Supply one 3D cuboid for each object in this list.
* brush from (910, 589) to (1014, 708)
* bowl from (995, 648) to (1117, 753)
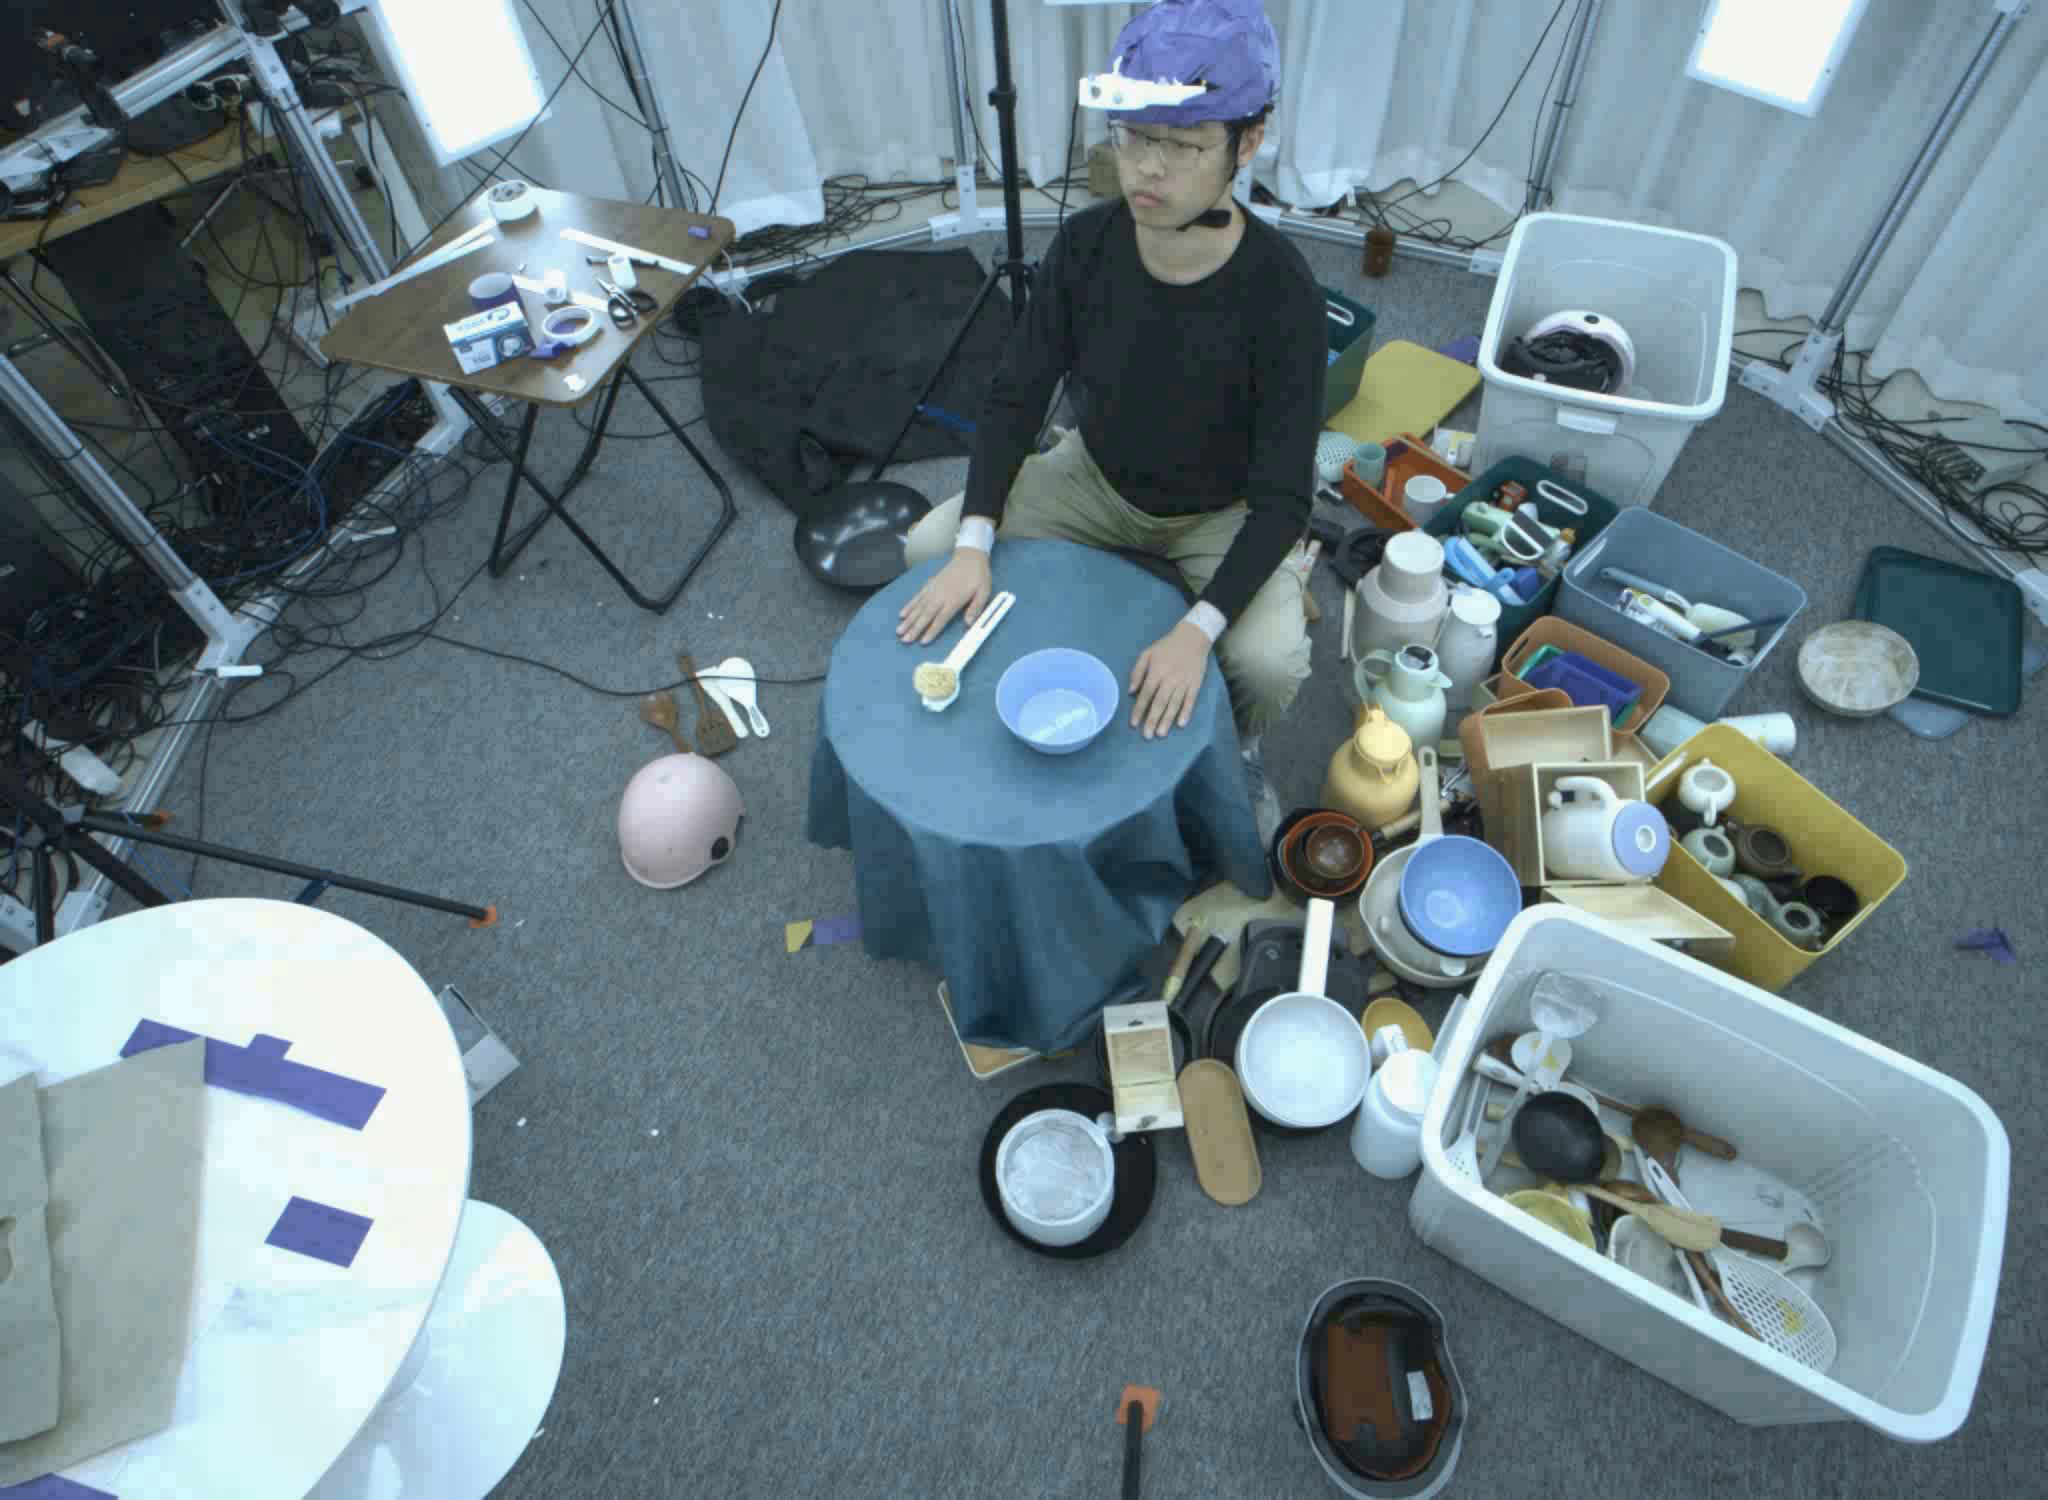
[{"bbox_3d":[-0.088,-0.173,1.880,0.068,0.056,0.267,25,58,14],"label":"brush"},{"bbox_3d":[0.047,-0.062,1.786,0.176,0.071,0.174,0,54,1],"label":"bowl"}]
